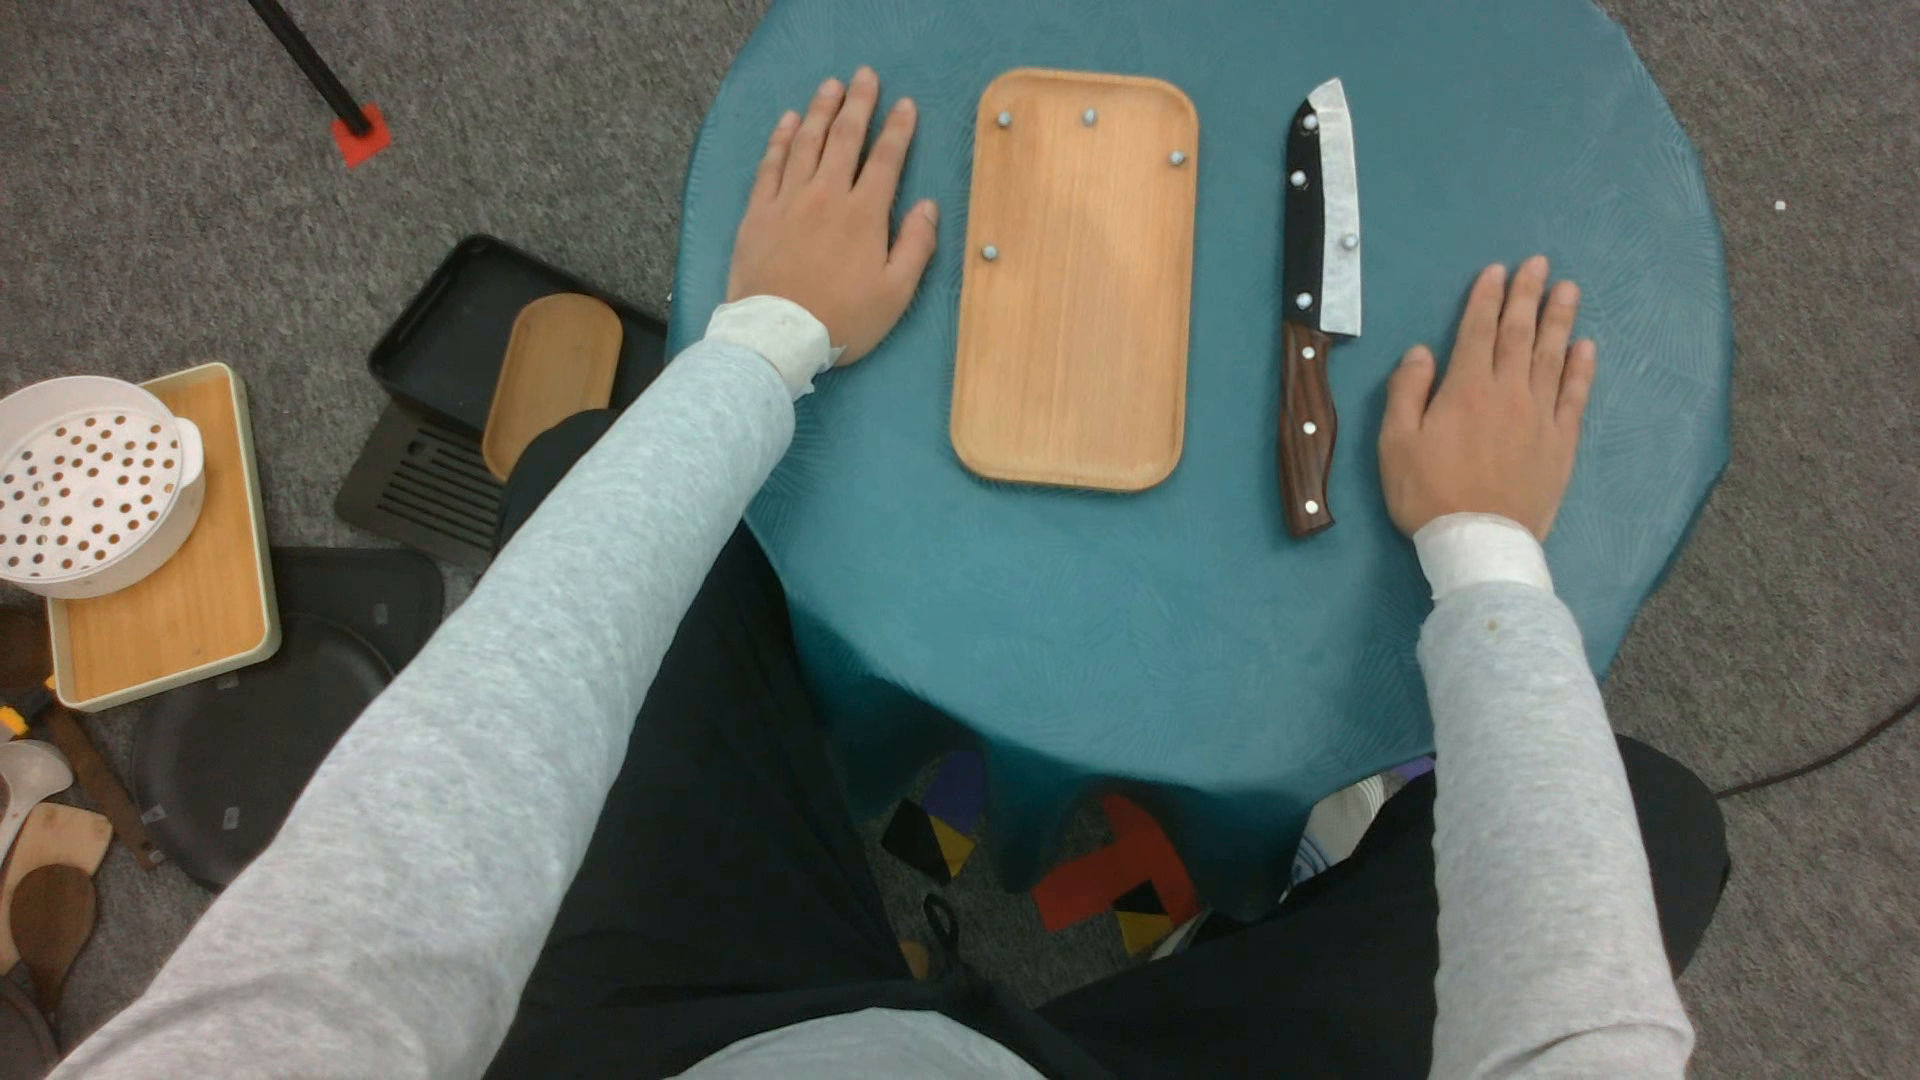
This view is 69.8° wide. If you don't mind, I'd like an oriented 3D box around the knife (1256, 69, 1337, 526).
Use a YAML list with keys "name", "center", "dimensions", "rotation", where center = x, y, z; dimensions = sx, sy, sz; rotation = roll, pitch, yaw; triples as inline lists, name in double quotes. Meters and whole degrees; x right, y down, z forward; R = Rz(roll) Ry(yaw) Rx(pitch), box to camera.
- name: "knife"
  center: [0.188, -0.144, 0.774]
  dimensions: [0.050, 0.020, 0.290]
  rotation: [8, 72, -5]

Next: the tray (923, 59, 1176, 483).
- name: "tray"
  center: [0.052, -0.154, 0.771]
  dimensions: [0.130, 0.023, 0.251]
  rotation: [5, 75, 1]
